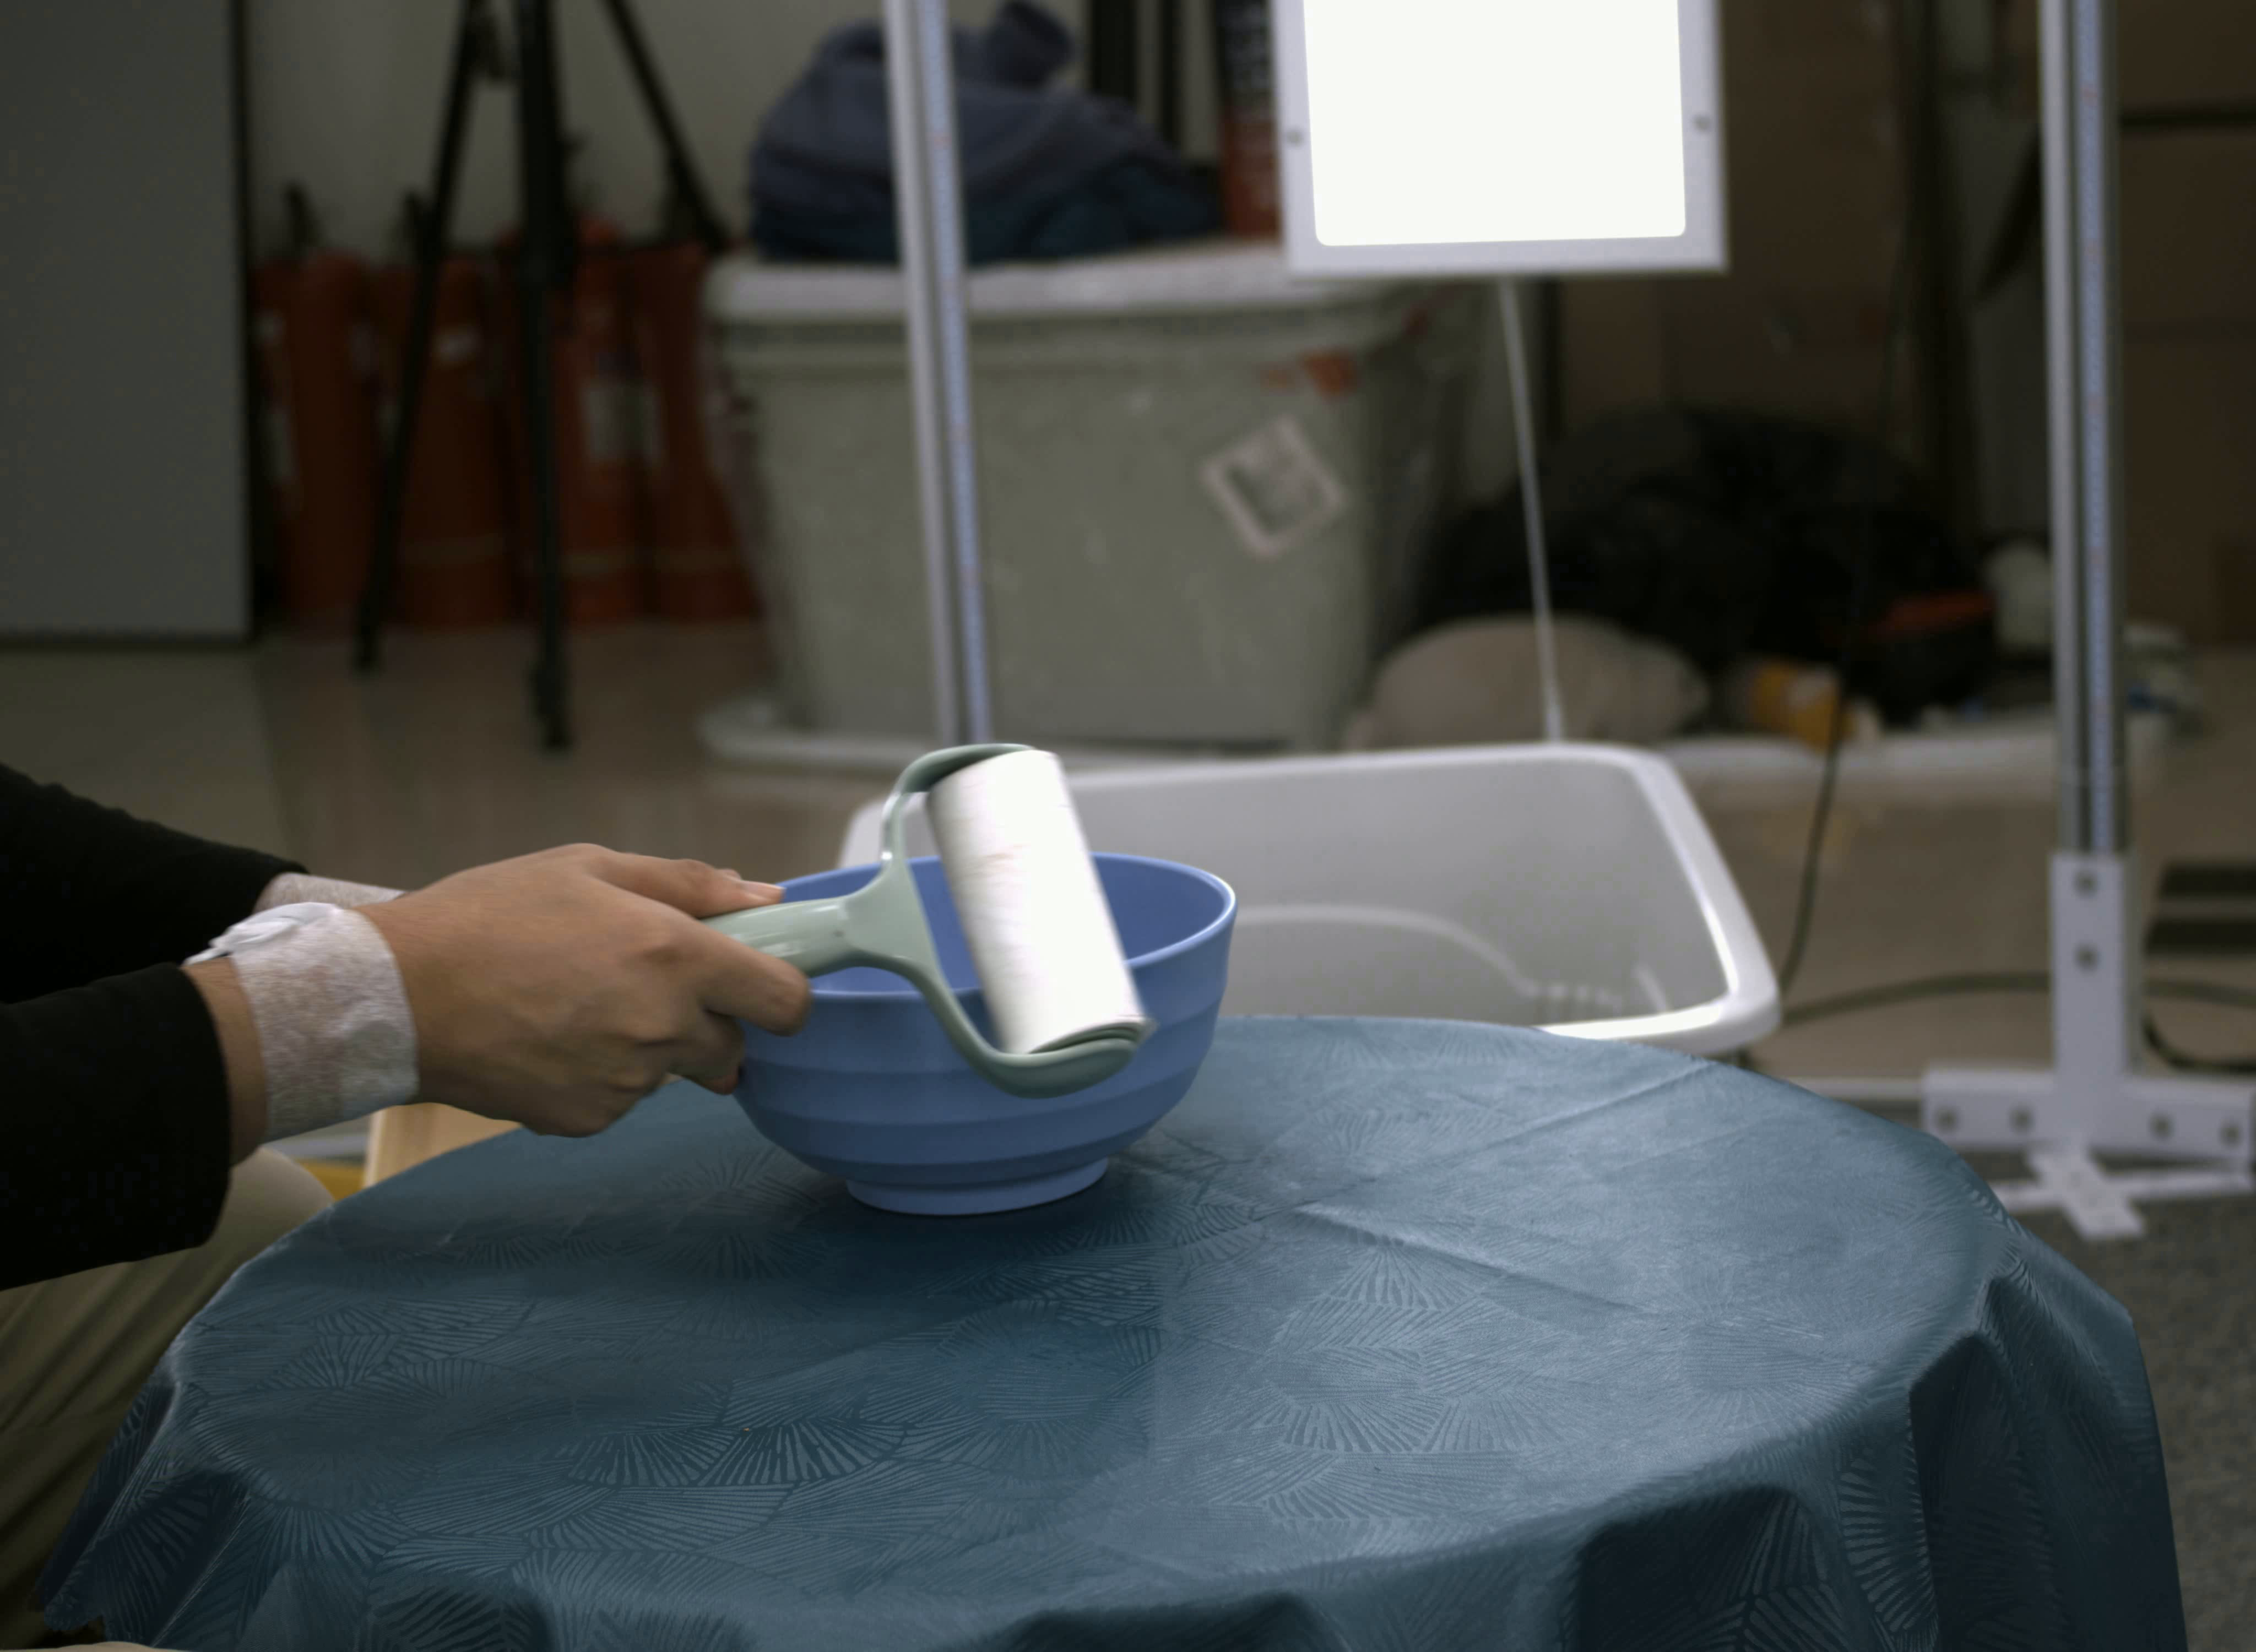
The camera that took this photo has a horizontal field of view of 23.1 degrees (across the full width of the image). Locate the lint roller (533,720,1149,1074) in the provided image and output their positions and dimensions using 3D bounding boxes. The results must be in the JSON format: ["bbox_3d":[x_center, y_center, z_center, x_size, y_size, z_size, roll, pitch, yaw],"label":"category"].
[{"bbox_3d":[-0.097,0.034,1.775,0.193,0.117,0.049,-10,-20,-23],"label":"lint roller"}]

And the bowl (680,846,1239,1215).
[{"bbox_3d":[-0.056,0.076,1.919,0.196,0.096,0.196,-4,14,0],"label":"bowl"}]
